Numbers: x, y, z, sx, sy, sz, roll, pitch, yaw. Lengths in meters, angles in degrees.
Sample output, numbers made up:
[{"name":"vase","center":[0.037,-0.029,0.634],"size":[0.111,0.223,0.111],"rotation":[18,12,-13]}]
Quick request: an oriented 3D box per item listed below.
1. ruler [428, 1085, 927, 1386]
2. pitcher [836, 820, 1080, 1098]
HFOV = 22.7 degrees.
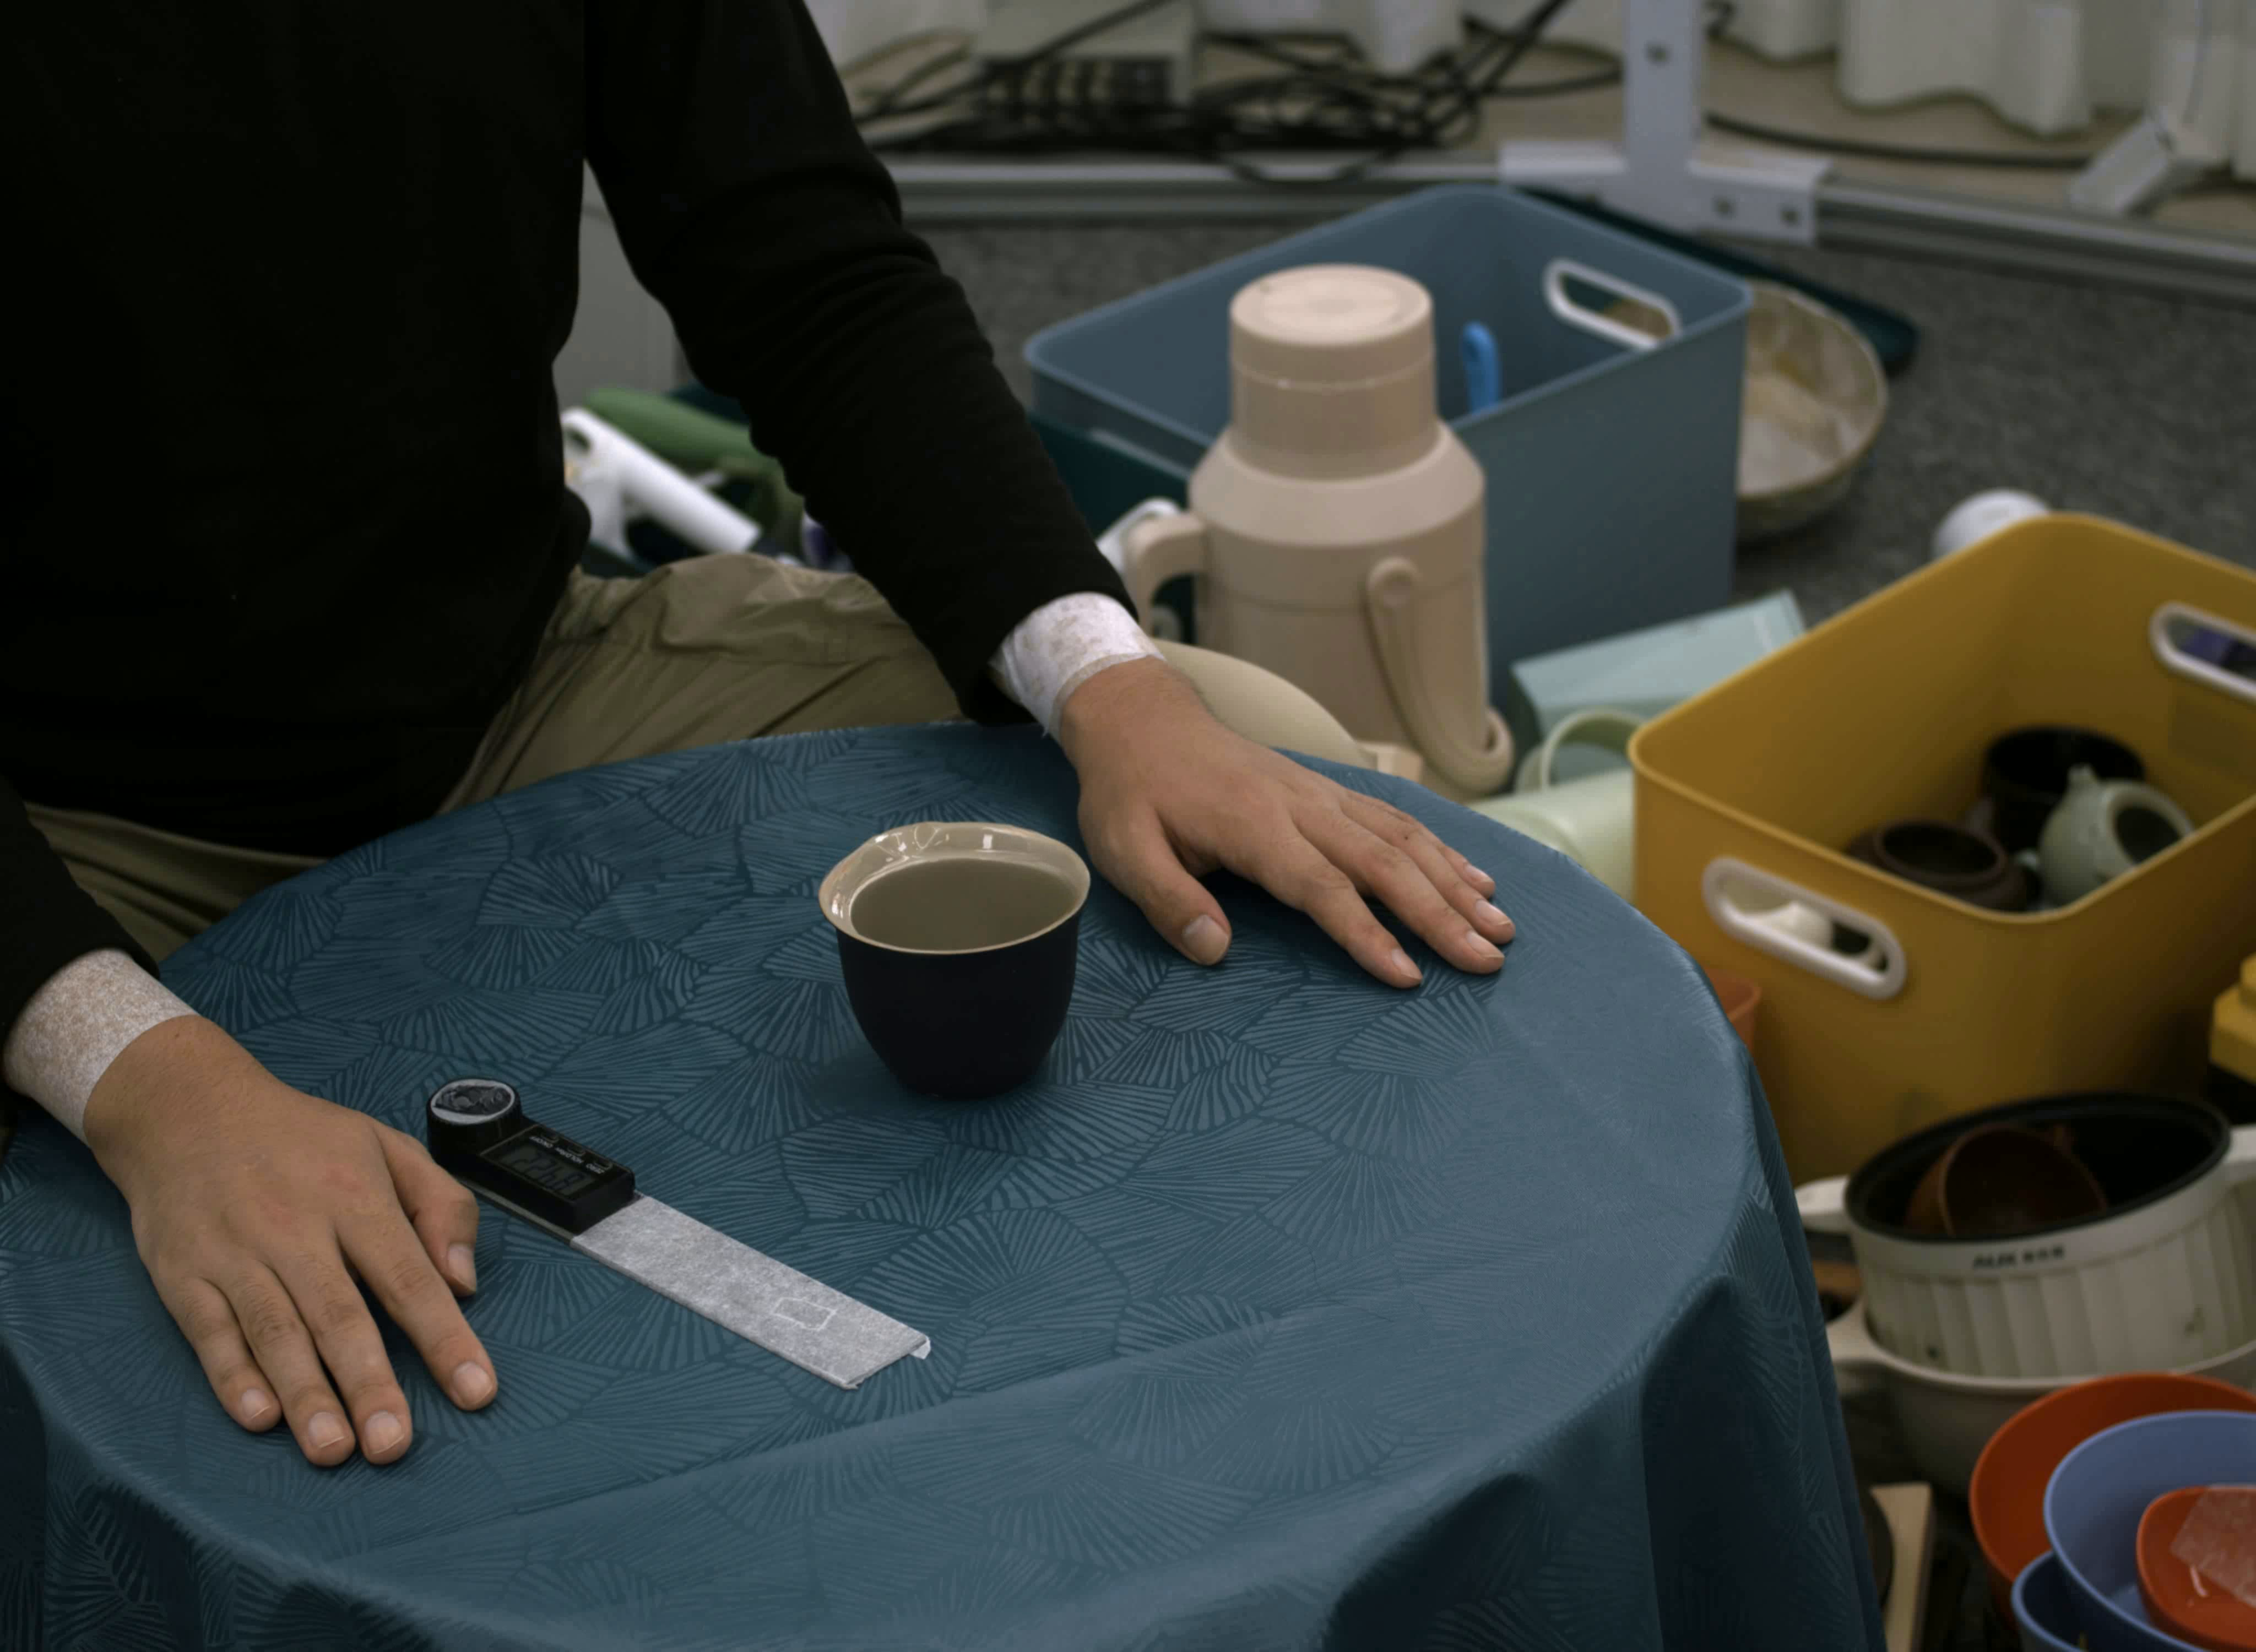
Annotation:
[{"name":"ruler","center":[-0.154,0.131,1.834],"size":[0.217,0.024,0.039],"rotation":[21,41,40]},{"name":"pitcher","center":[-0.059,0.049,1.930],"size":[0.084,0.070,0.096],"rotation":[-15,30,-19]}]
